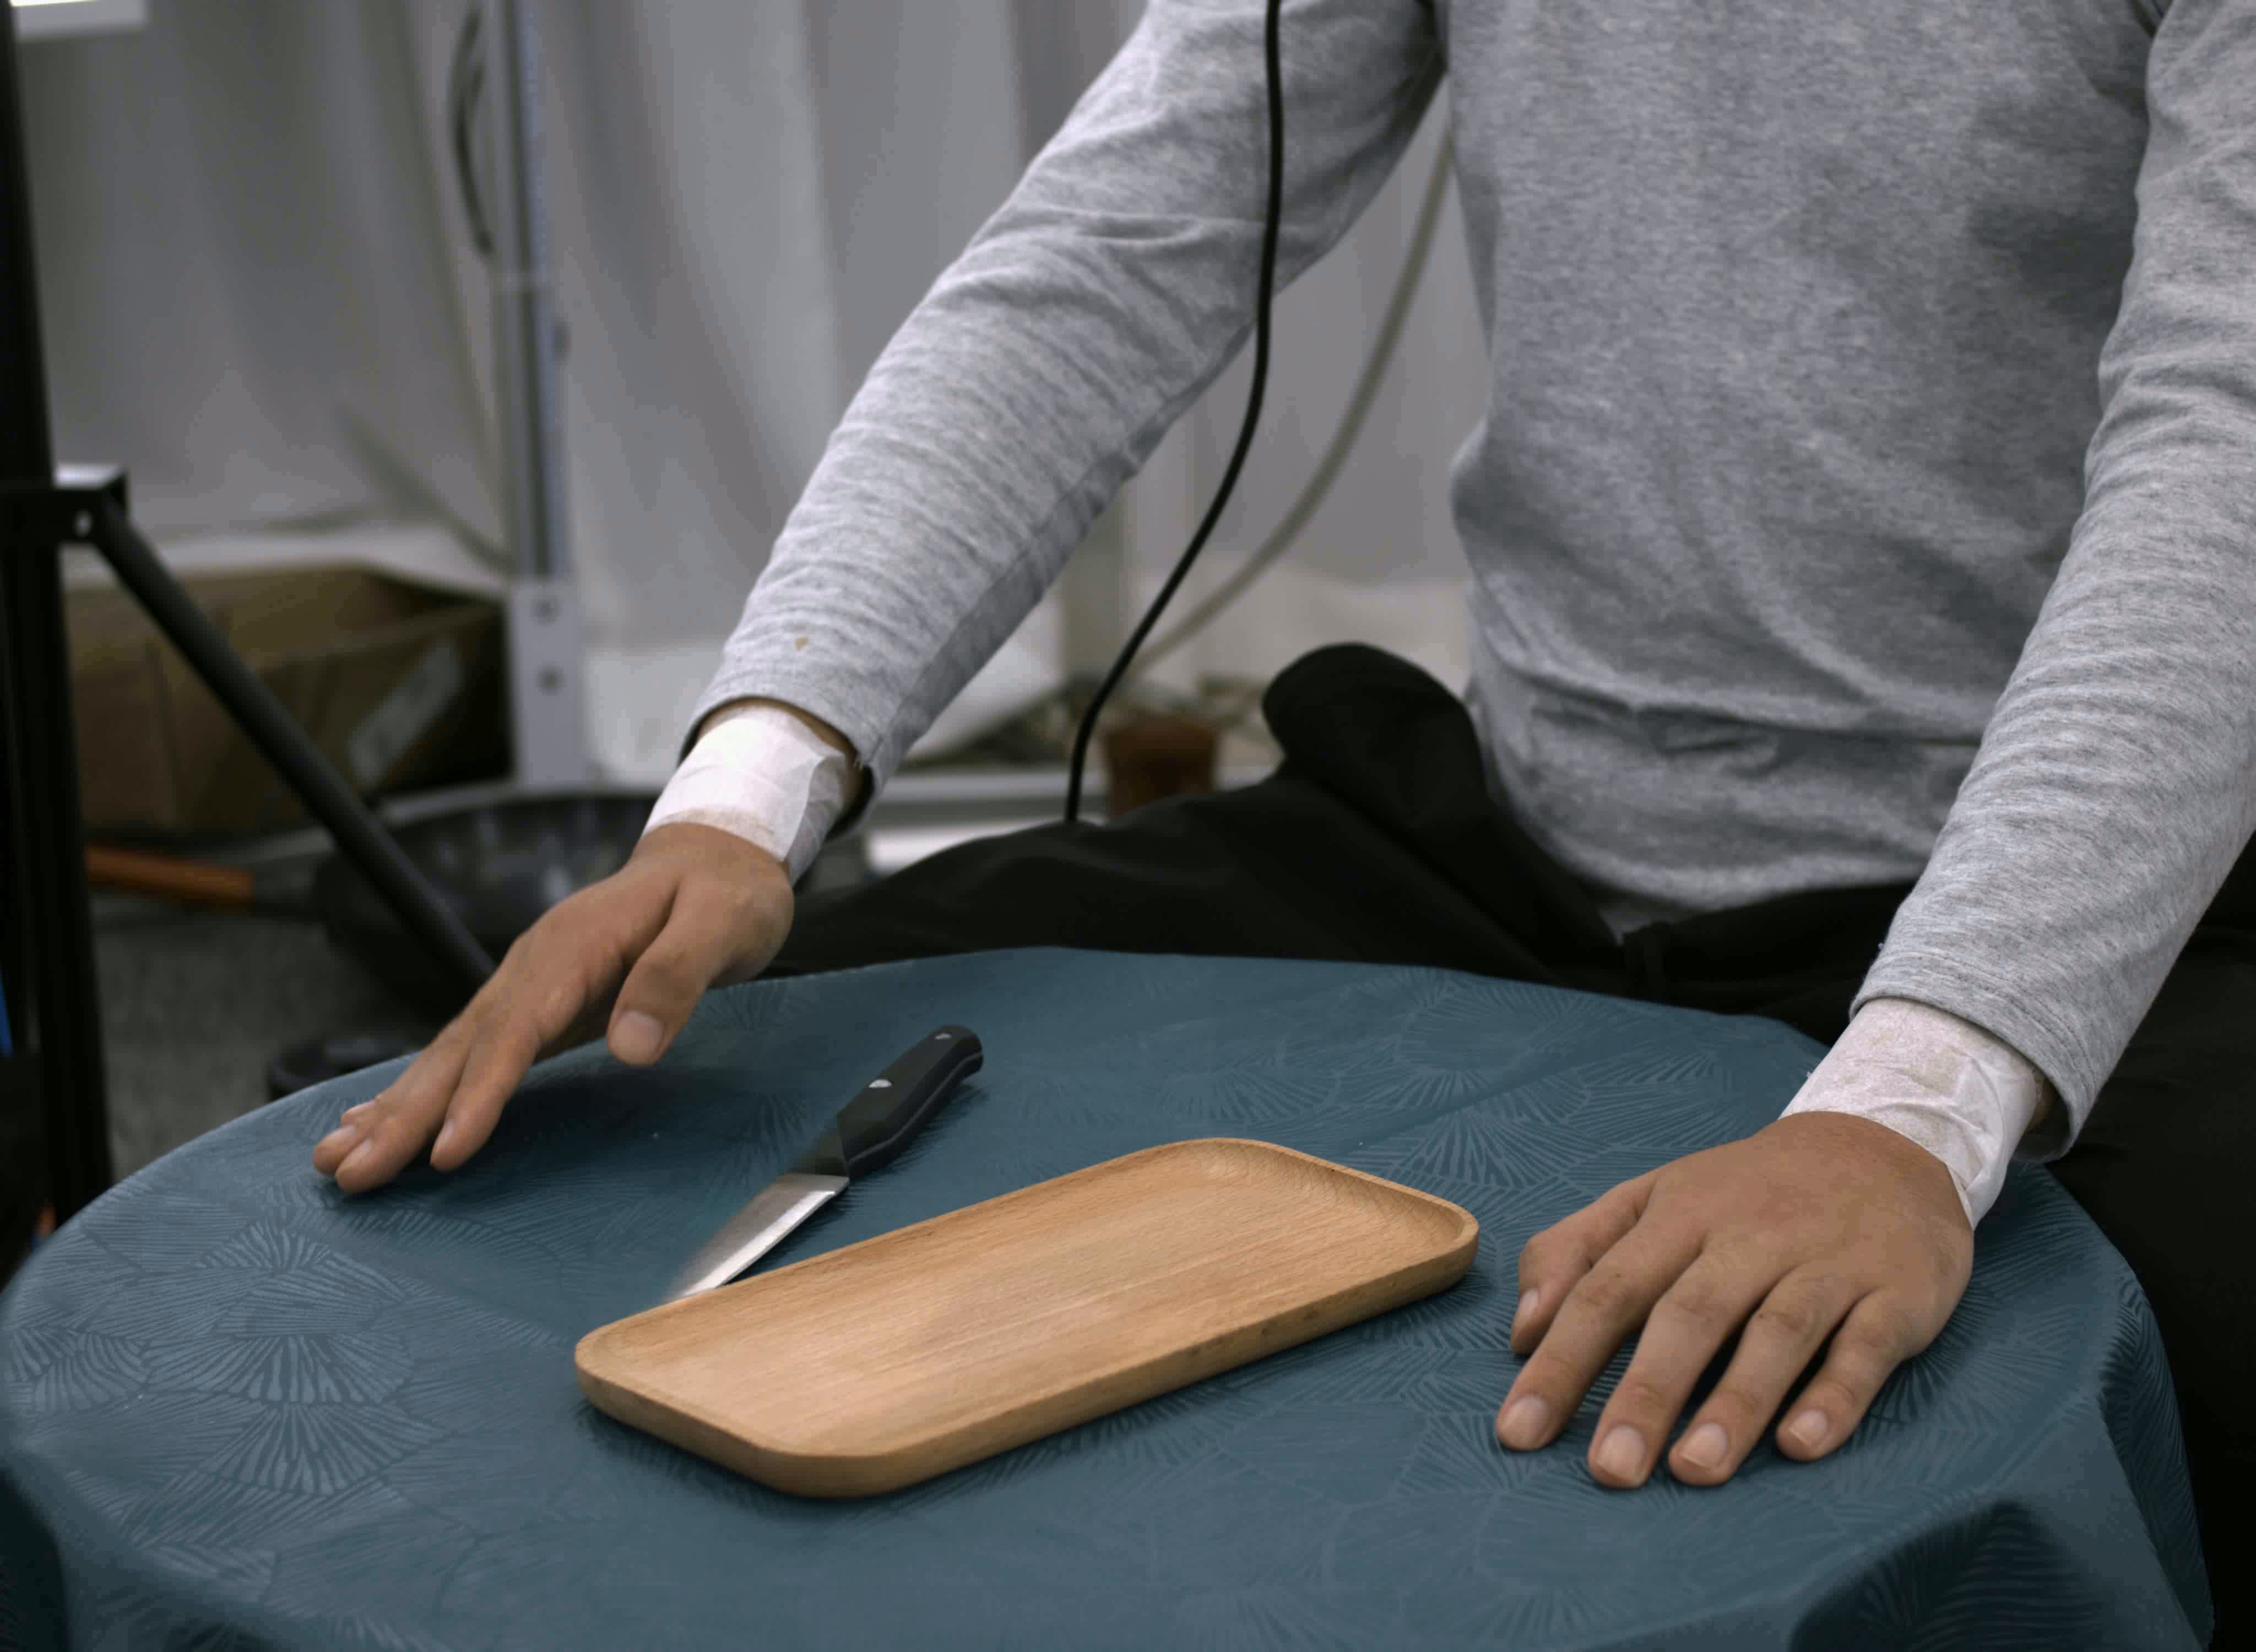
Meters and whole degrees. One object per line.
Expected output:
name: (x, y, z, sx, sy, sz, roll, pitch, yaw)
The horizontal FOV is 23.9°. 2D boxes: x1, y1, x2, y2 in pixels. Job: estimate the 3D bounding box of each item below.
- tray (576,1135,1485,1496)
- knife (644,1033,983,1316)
tray: (-0.023, 0.131, 1.452, 0.245, 0.023, 0.133, -14, 22, -37)
knife: (-0.096, 0.106, 1.564, 0.025, 0.016, 0.235, 3, 19, 21)
